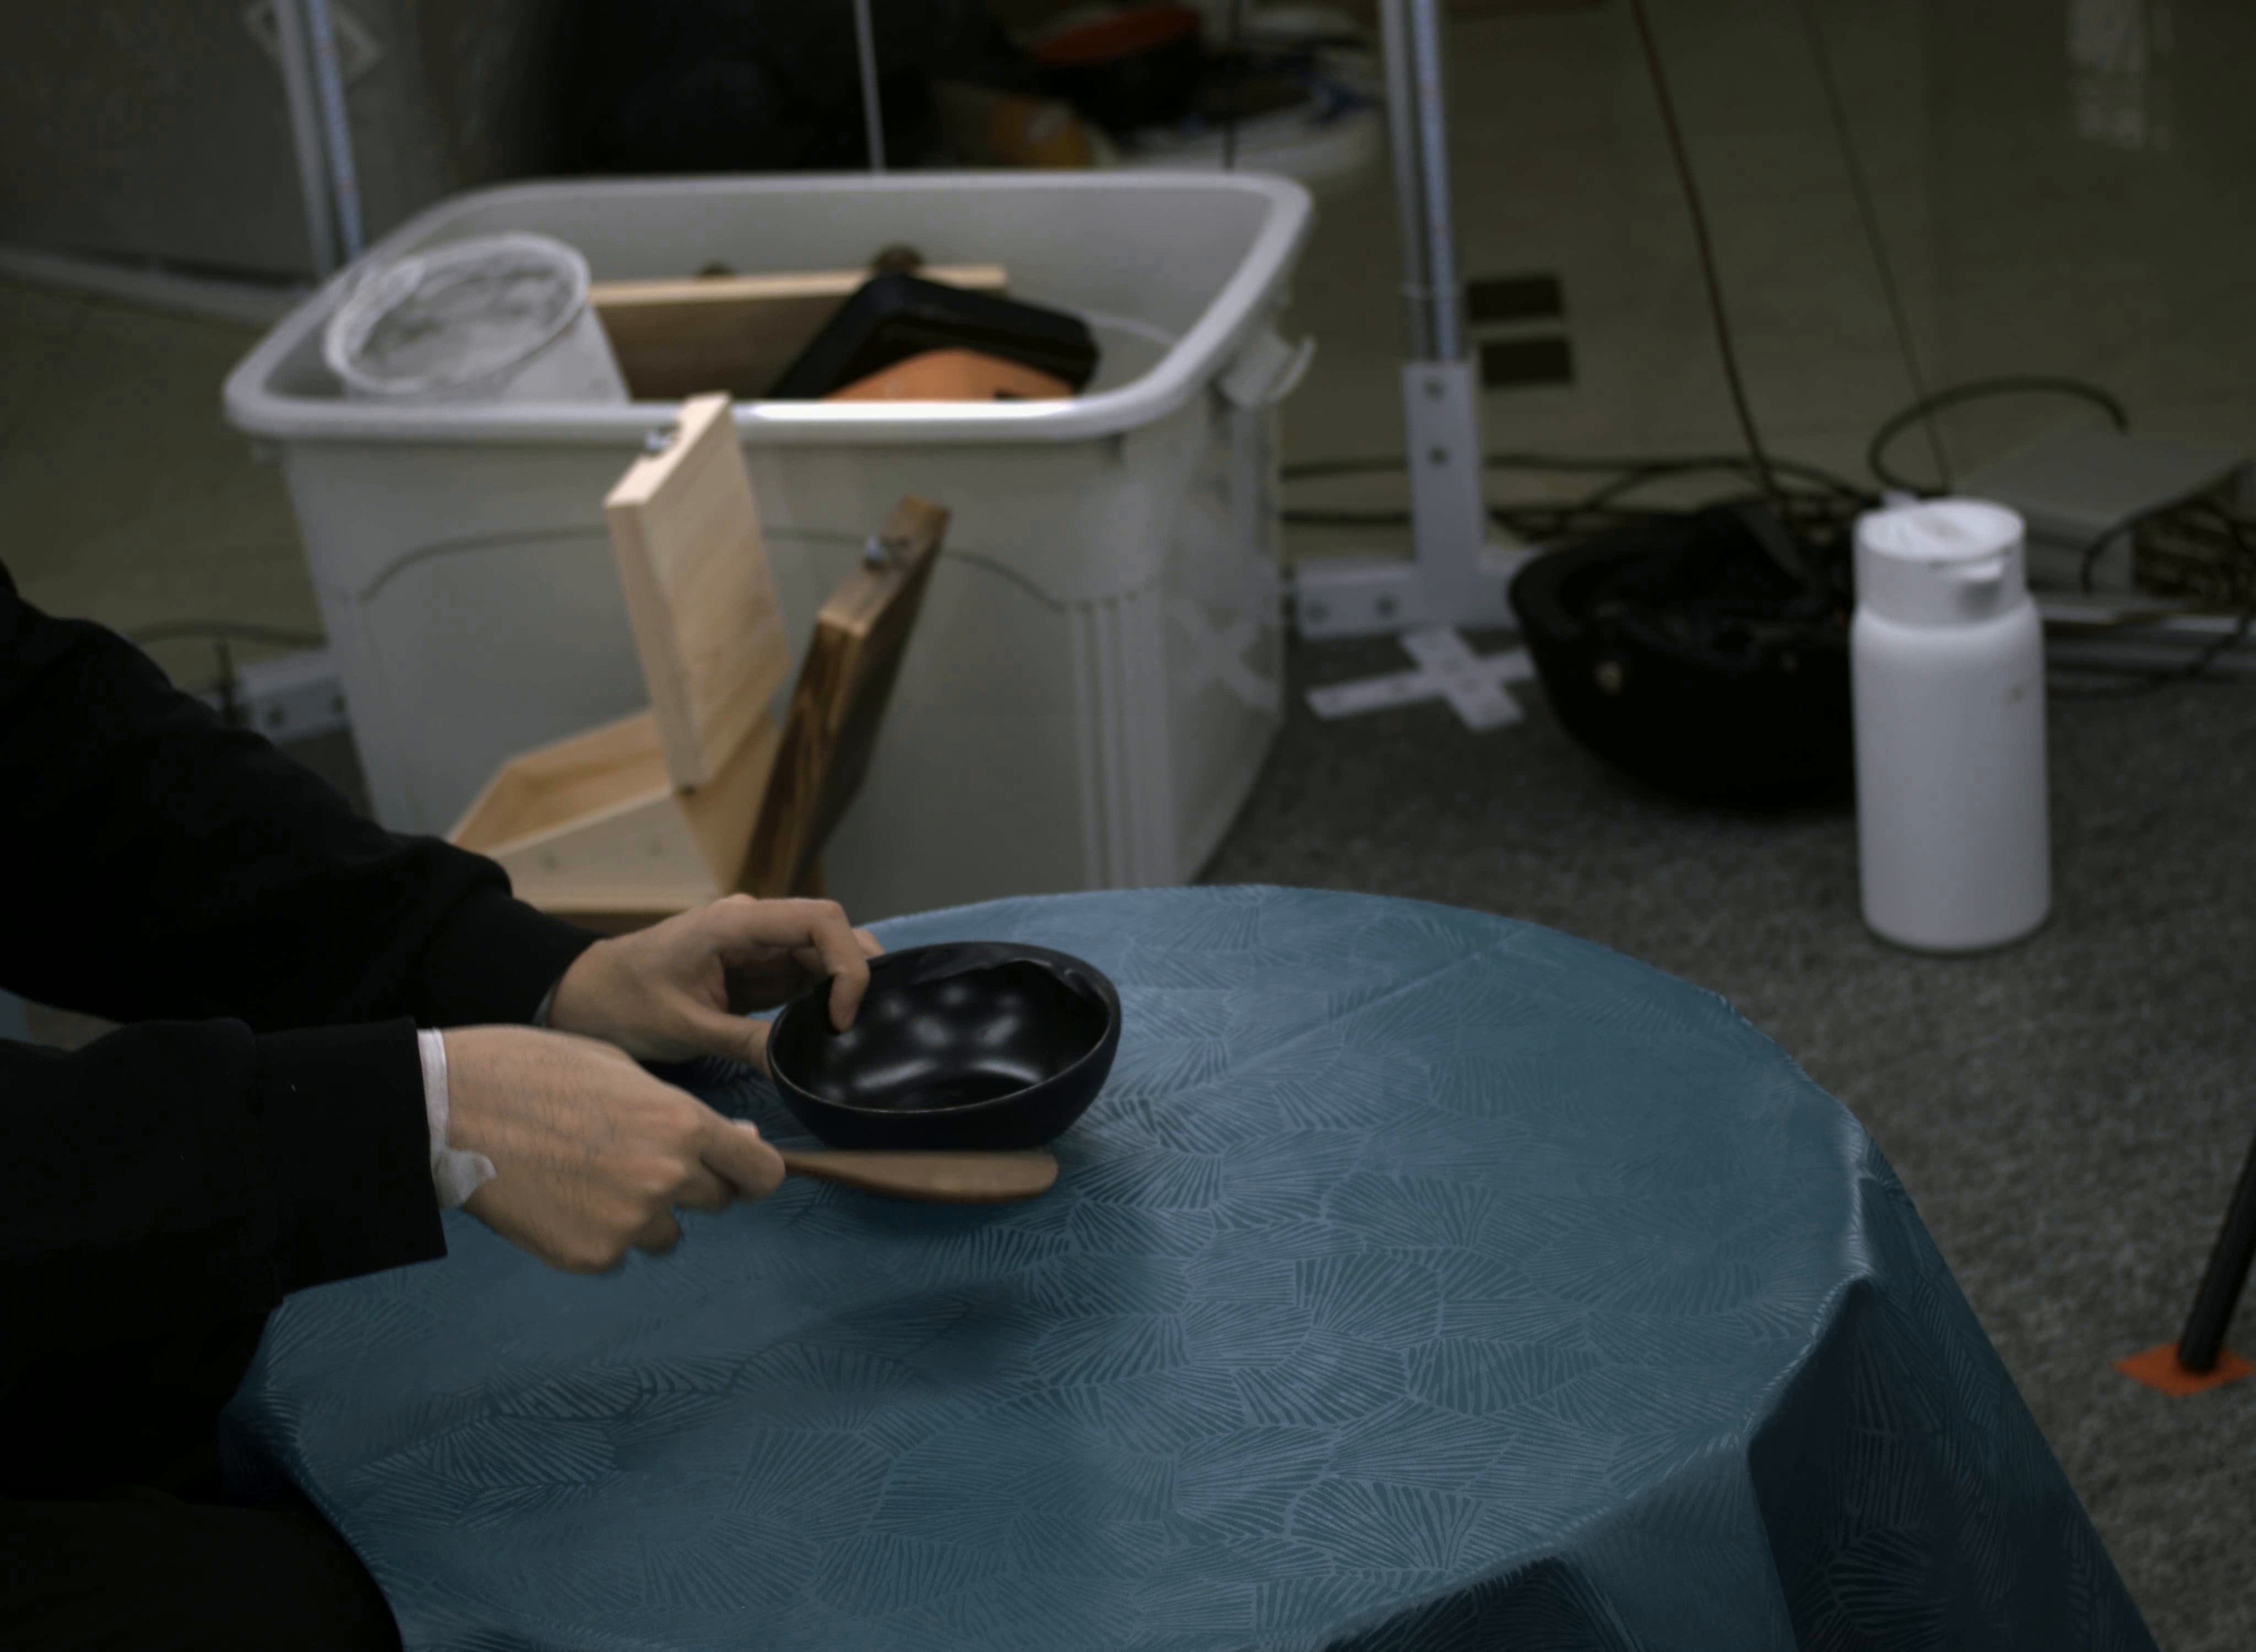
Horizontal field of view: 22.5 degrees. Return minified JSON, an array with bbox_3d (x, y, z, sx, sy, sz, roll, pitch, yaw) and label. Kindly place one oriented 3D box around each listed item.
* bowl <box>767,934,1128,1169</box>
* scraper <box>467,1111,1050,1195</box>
[{"bbox_3d":[-0.068,0.097,2.197,0.140,0.050,0.138,-4,30,3],"label":"bowl"},{"bbox_3d":[-0.134,0.117,2.049,0.211,0.011,0.075,6,7,-6],"label":"scraper"}]
